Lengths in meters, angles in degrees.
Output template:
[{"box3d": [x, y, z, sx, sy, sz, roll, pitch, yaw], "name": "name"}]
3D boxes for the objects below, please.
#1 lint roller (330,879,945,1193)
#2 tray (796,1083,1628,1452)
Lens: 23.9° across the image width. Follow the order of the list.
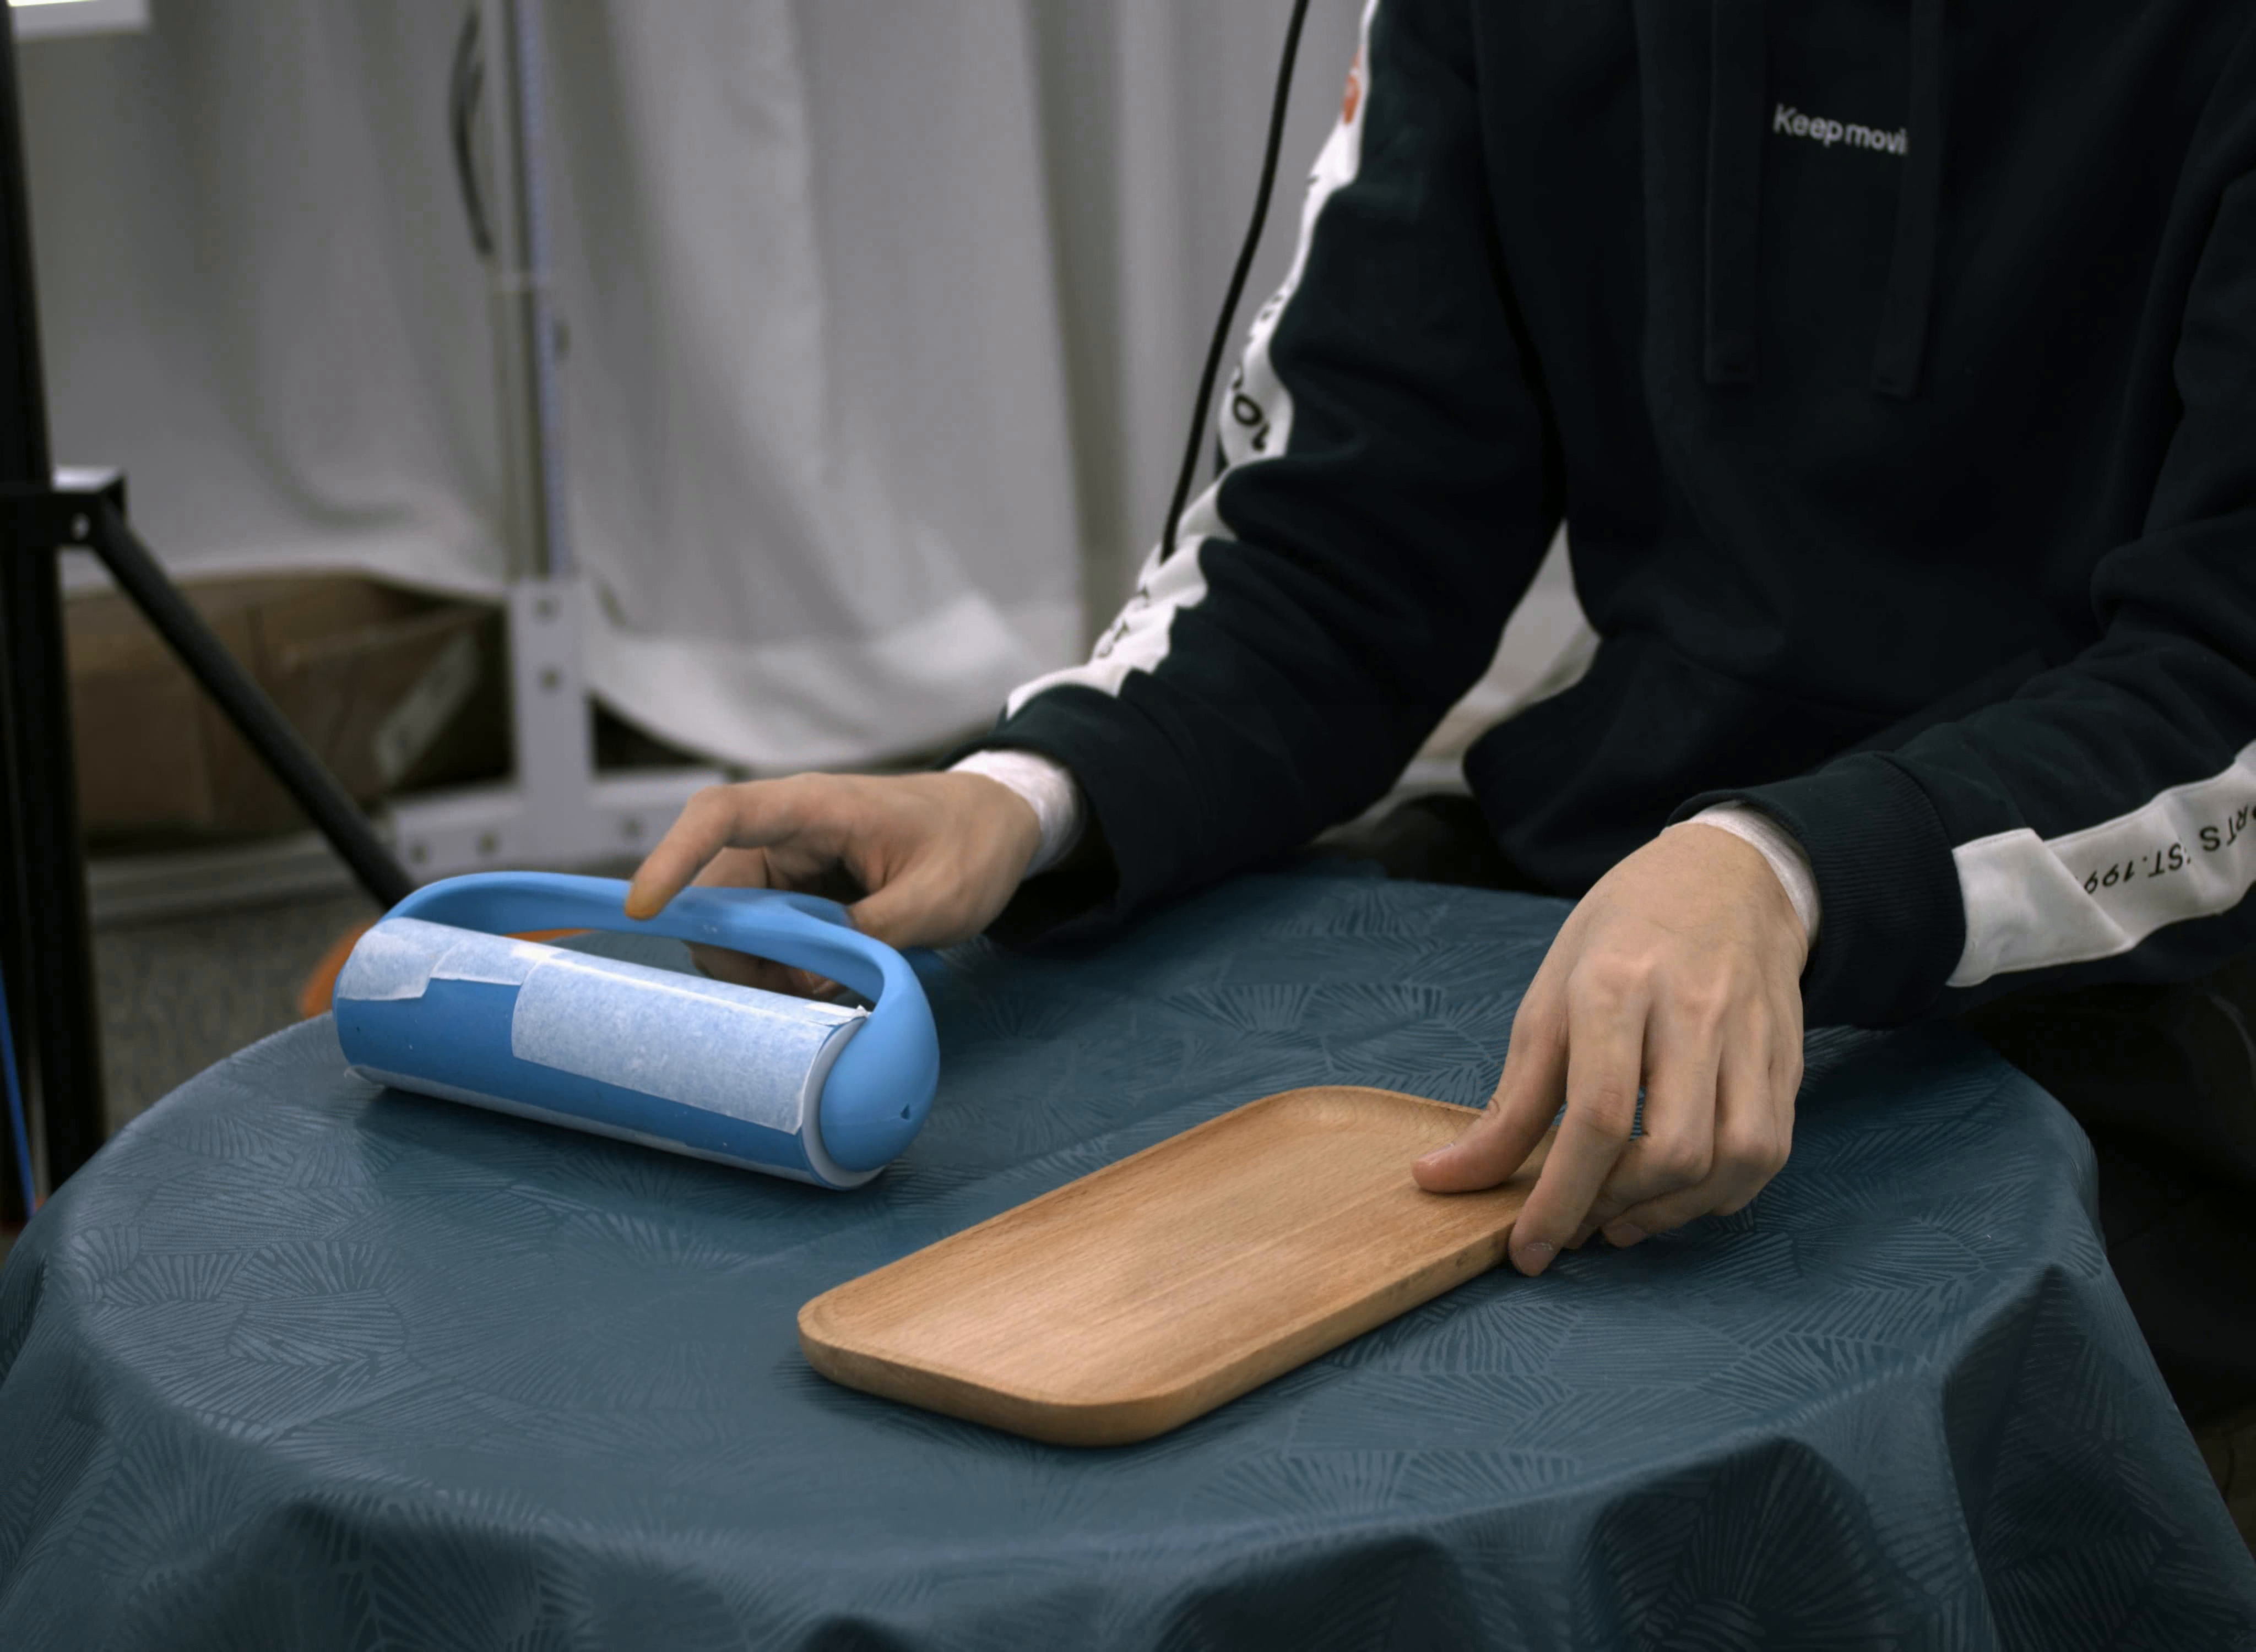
[{"box3d": [-0.122, 0.052, 1.670, 0.233, 0.068, 0.177, 7, 20, 36], "name": "lint roller"}, {"box3d": [0.027, 0.120, 1.479, 0.133, 0.023, 0.245, 13, 22, 39], "name": "tray"}]
